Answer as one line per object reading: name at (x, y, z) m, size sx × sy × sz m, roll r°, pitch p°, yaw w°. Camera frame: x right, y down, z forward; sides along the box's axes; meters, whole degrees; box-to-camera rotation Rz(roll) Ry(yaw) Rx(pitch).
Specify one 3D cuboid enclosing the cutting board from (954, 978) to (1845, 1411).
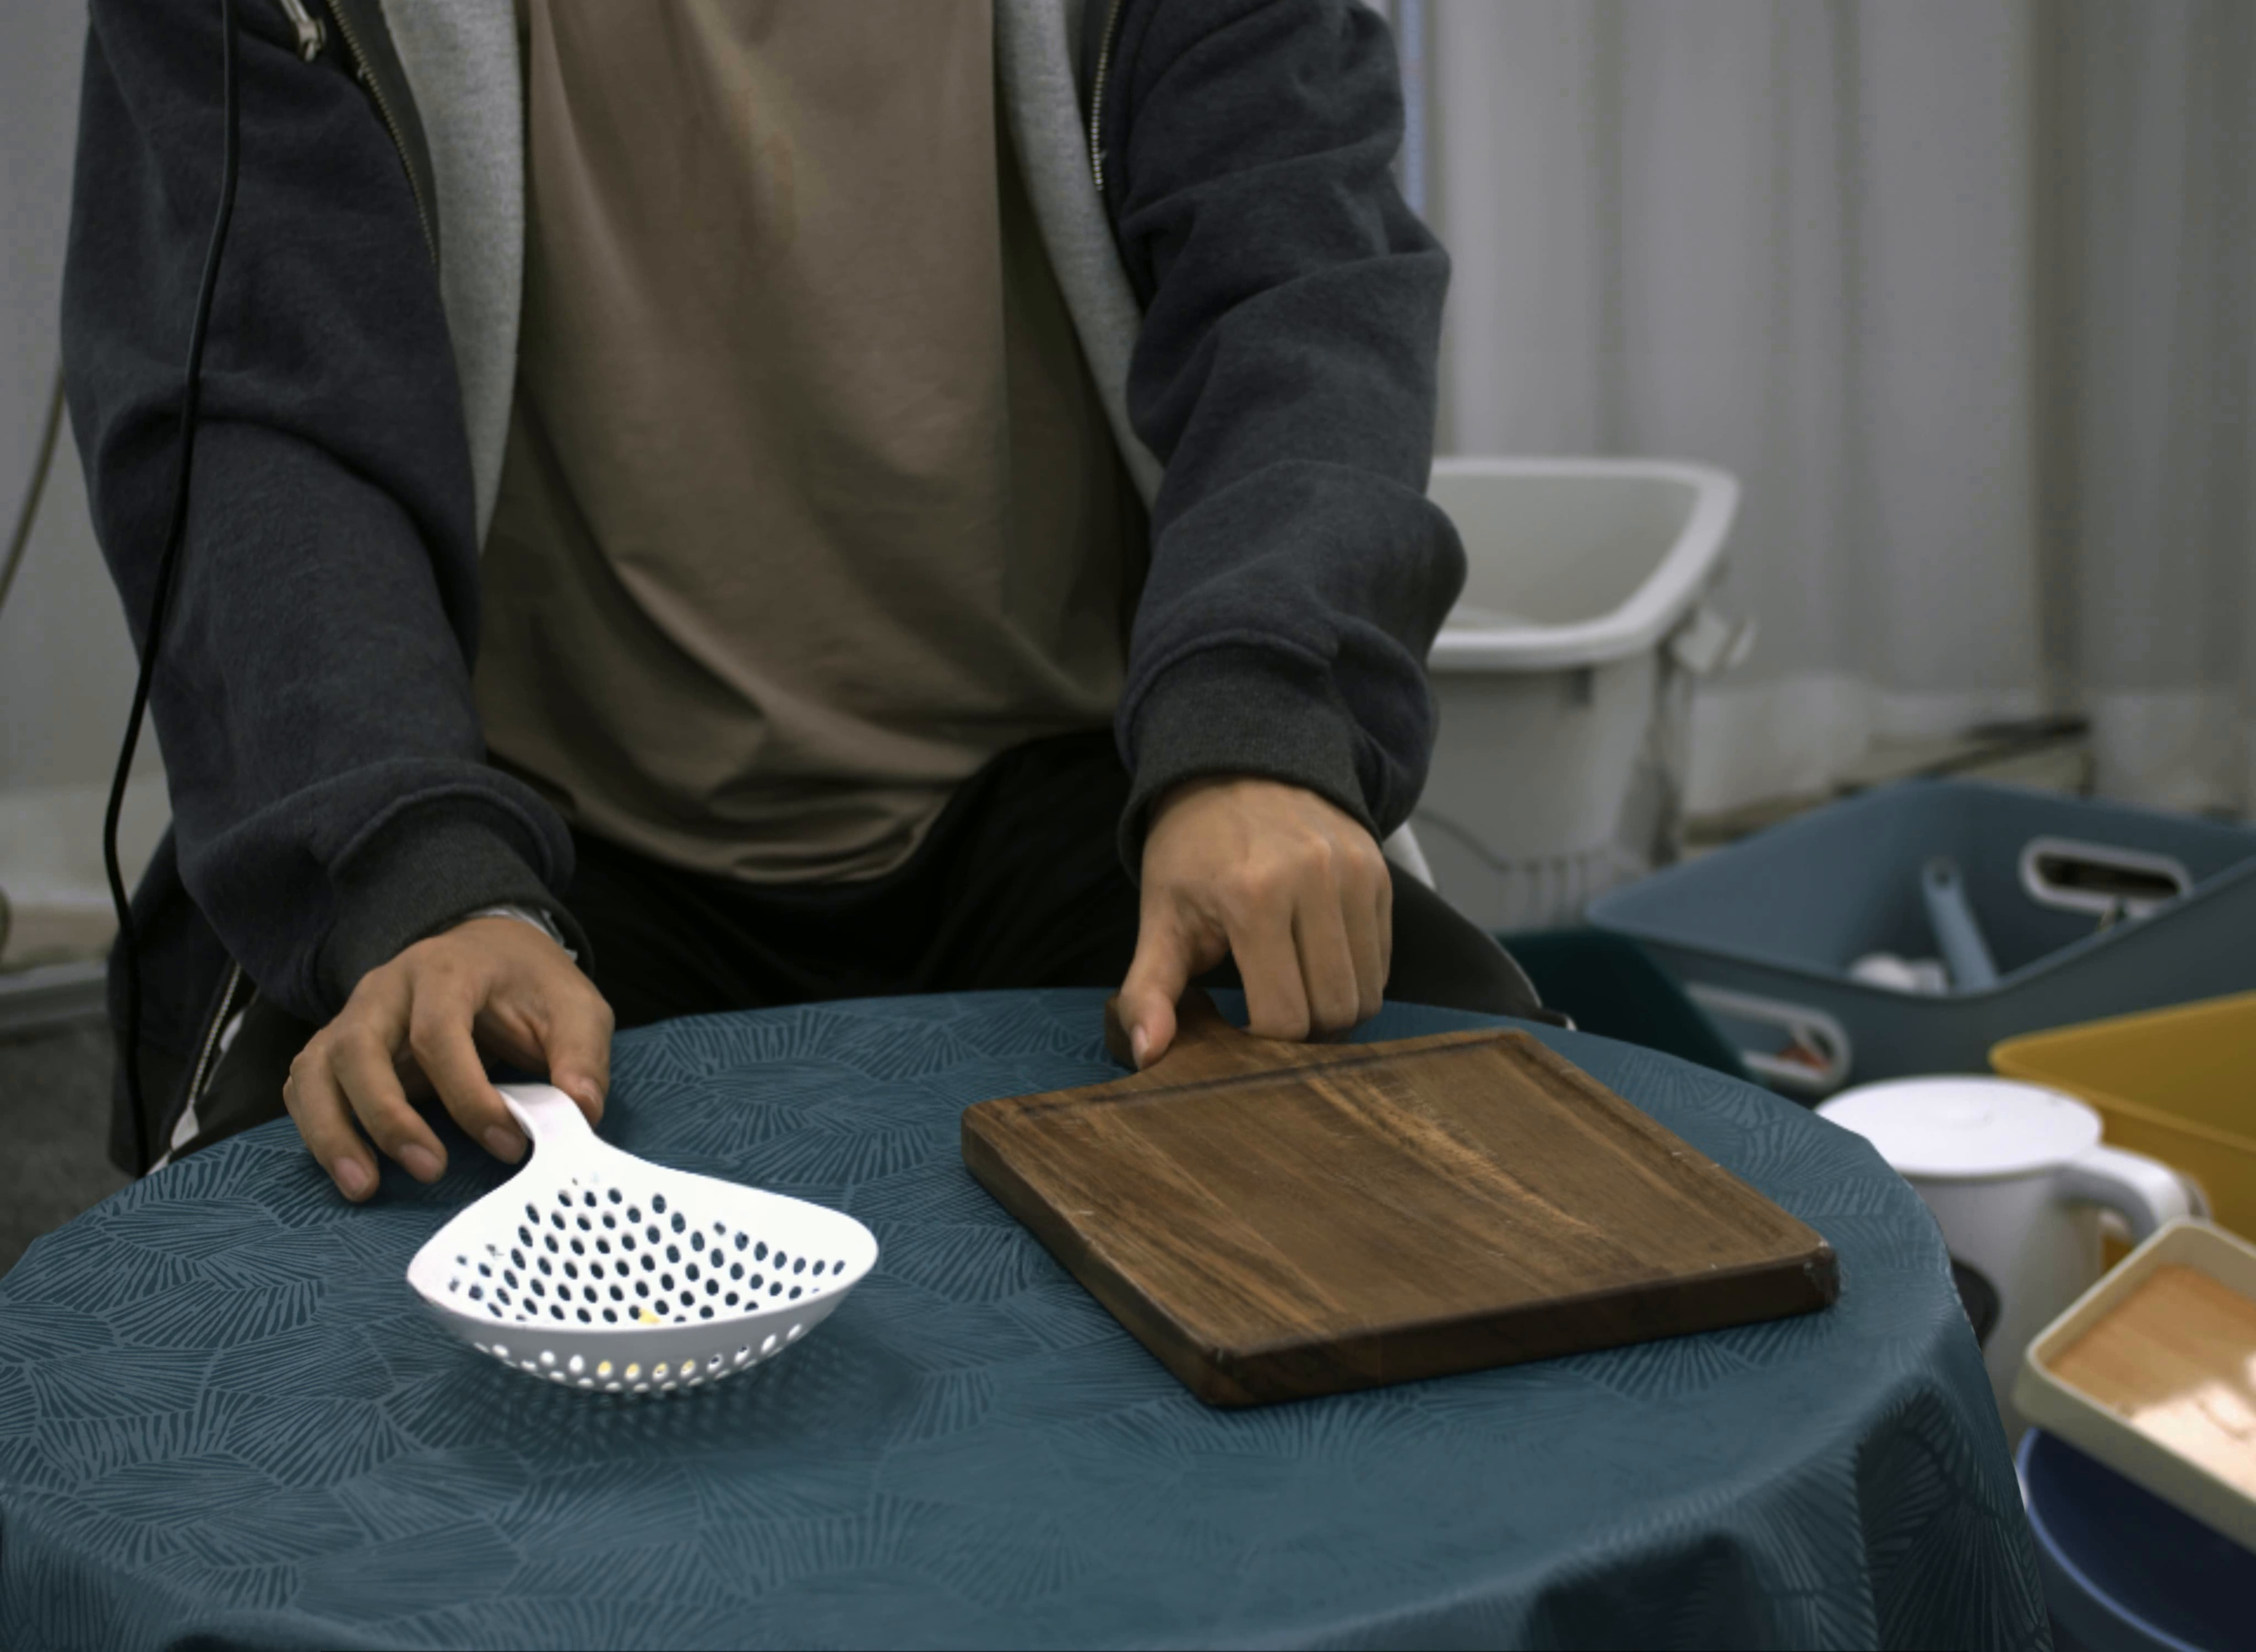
cutting board at (0.060, 0.103, 1.709) m, size 0.200 × 0.023 × 0.355 m, roll -7°, pitch 16°, yaw -18°

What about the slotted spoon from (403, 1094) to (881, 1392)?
slotted spoon at (-0.169, 0.113, 1.673) m, size 0.136 × 0.050 × 0.351 m, roll -8°, pitch 16°, yaw -15°
